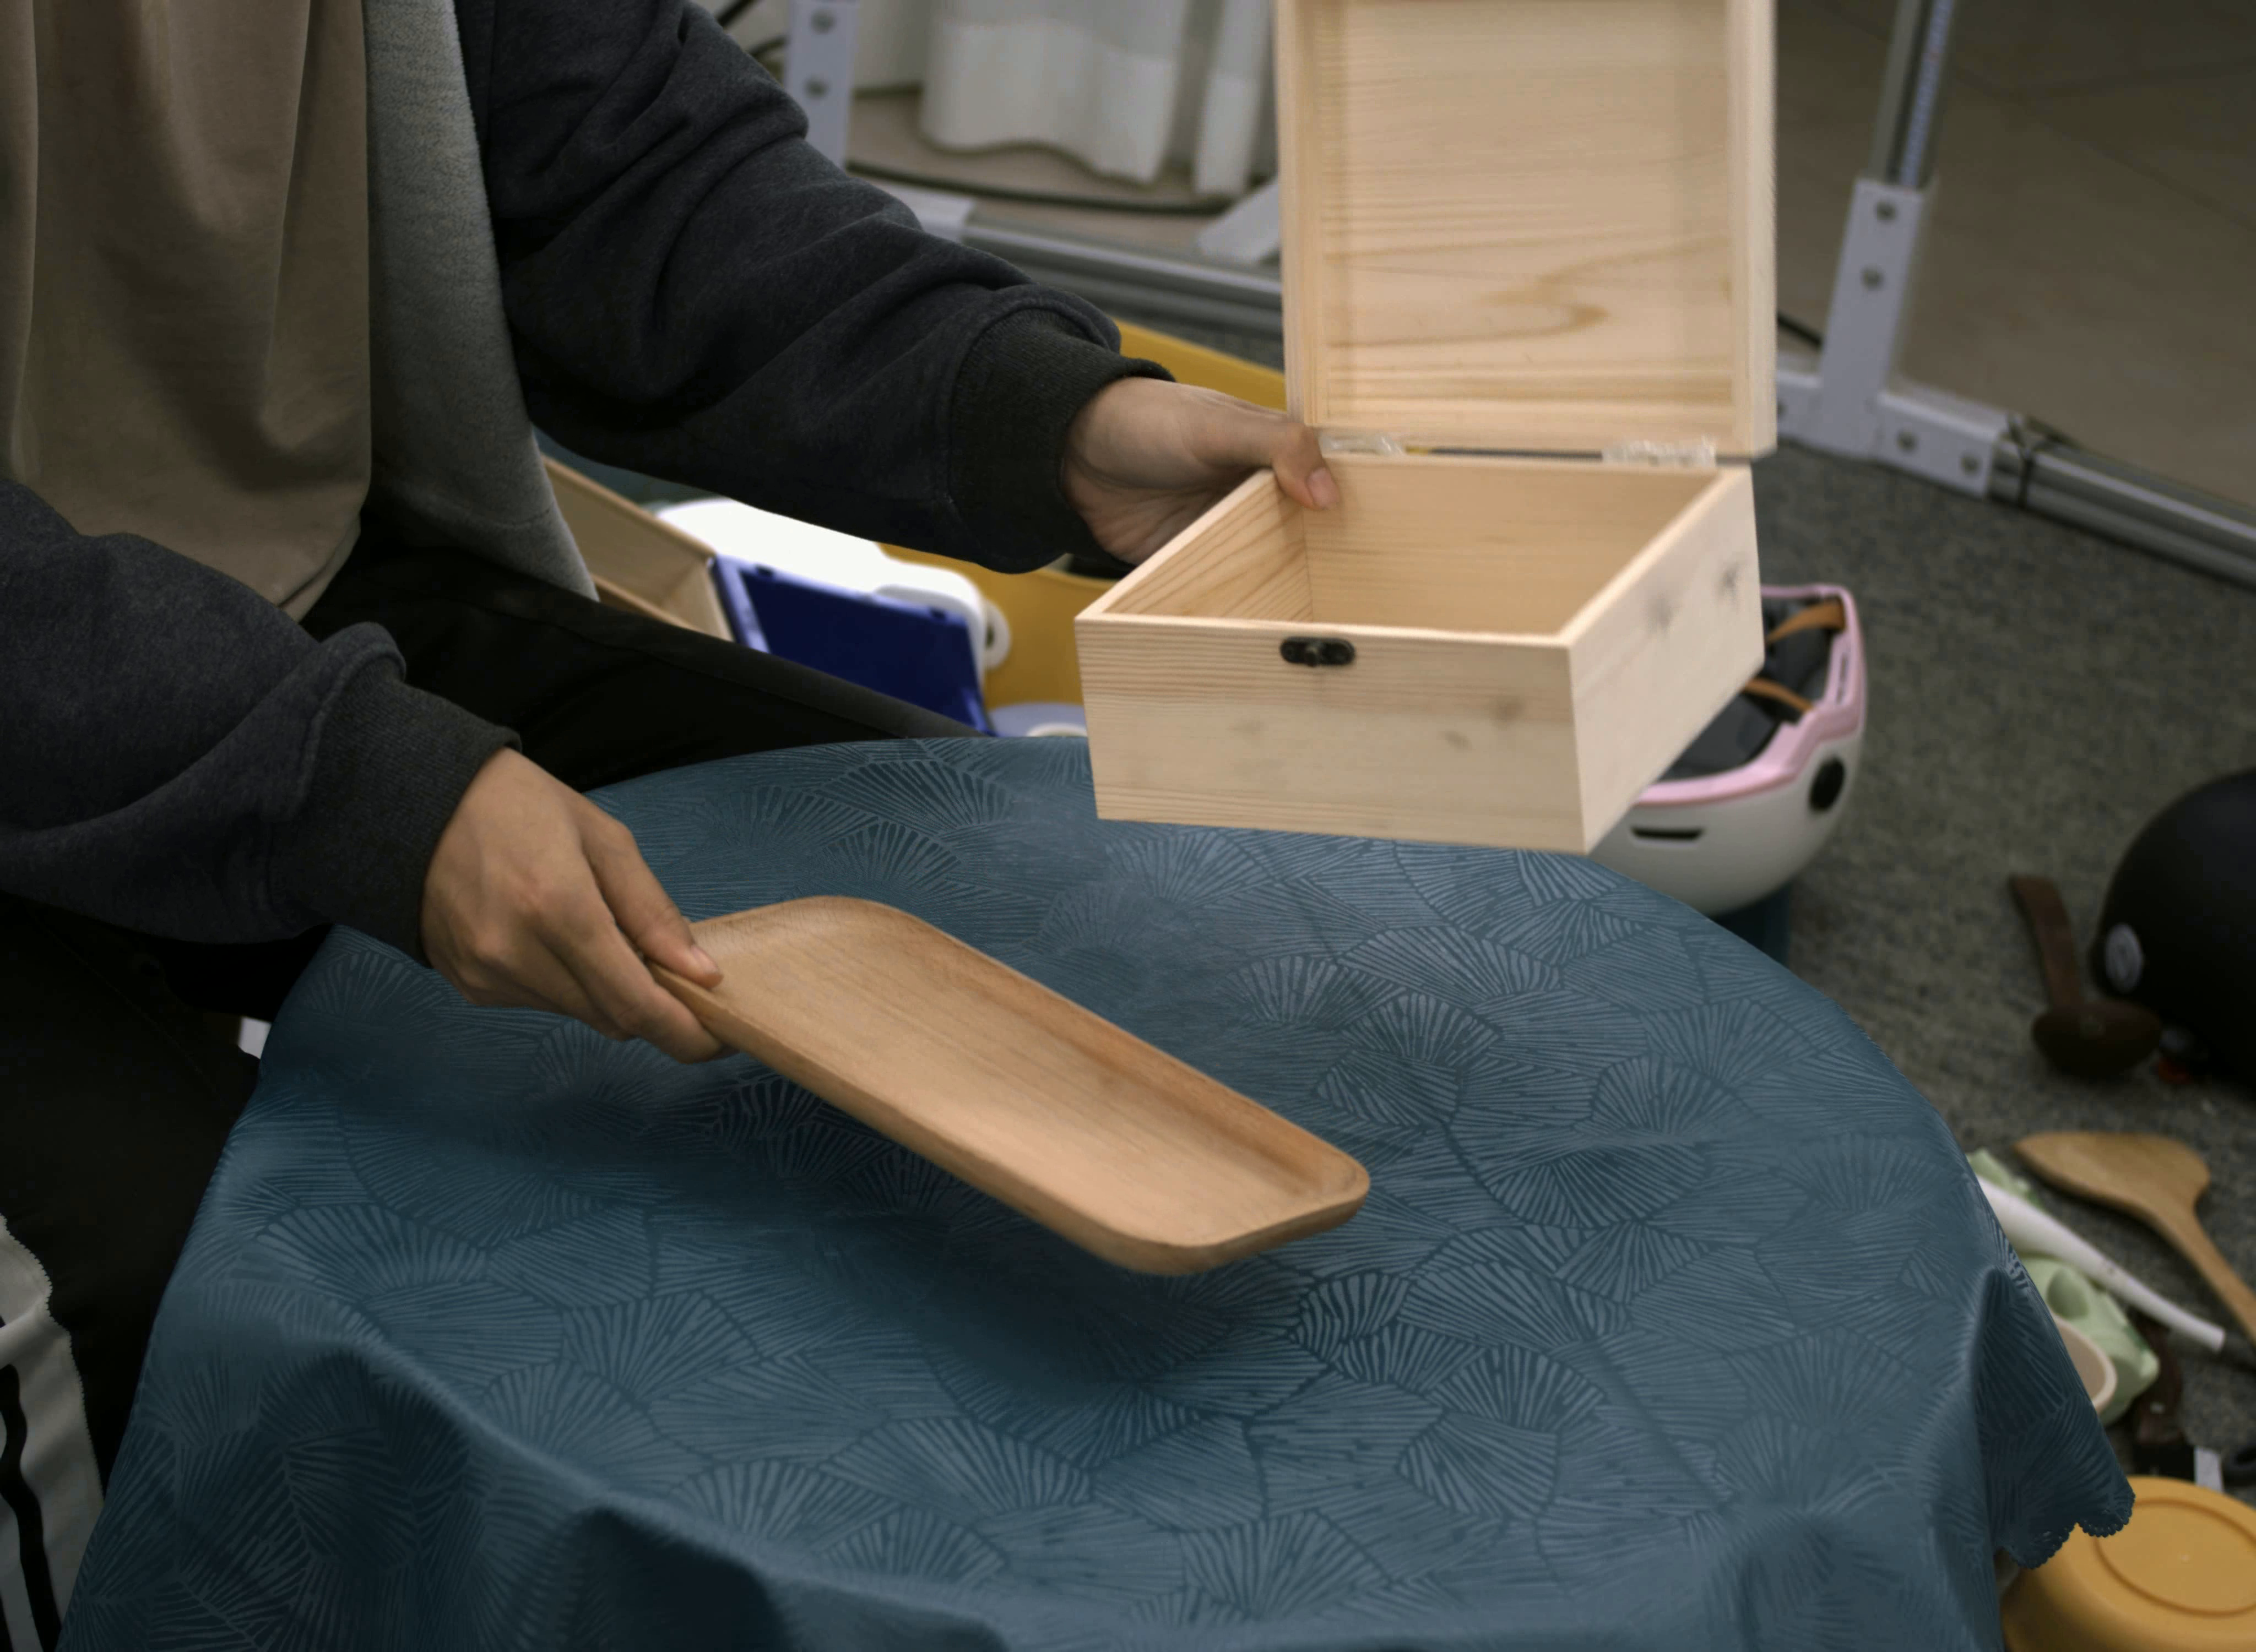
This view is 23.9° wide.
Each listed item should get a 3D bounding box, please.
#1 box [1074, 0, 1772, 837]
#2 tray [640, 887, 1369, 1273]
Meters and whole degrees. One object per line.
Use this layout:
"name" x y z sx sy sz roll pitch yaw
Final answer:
"box" 0.105 -0.159 1.844 0.182 0.252 0.265 -1 21 27
"tray" -0.044 0.082 1.766 0.252 0.023 0.130 27 22 35
